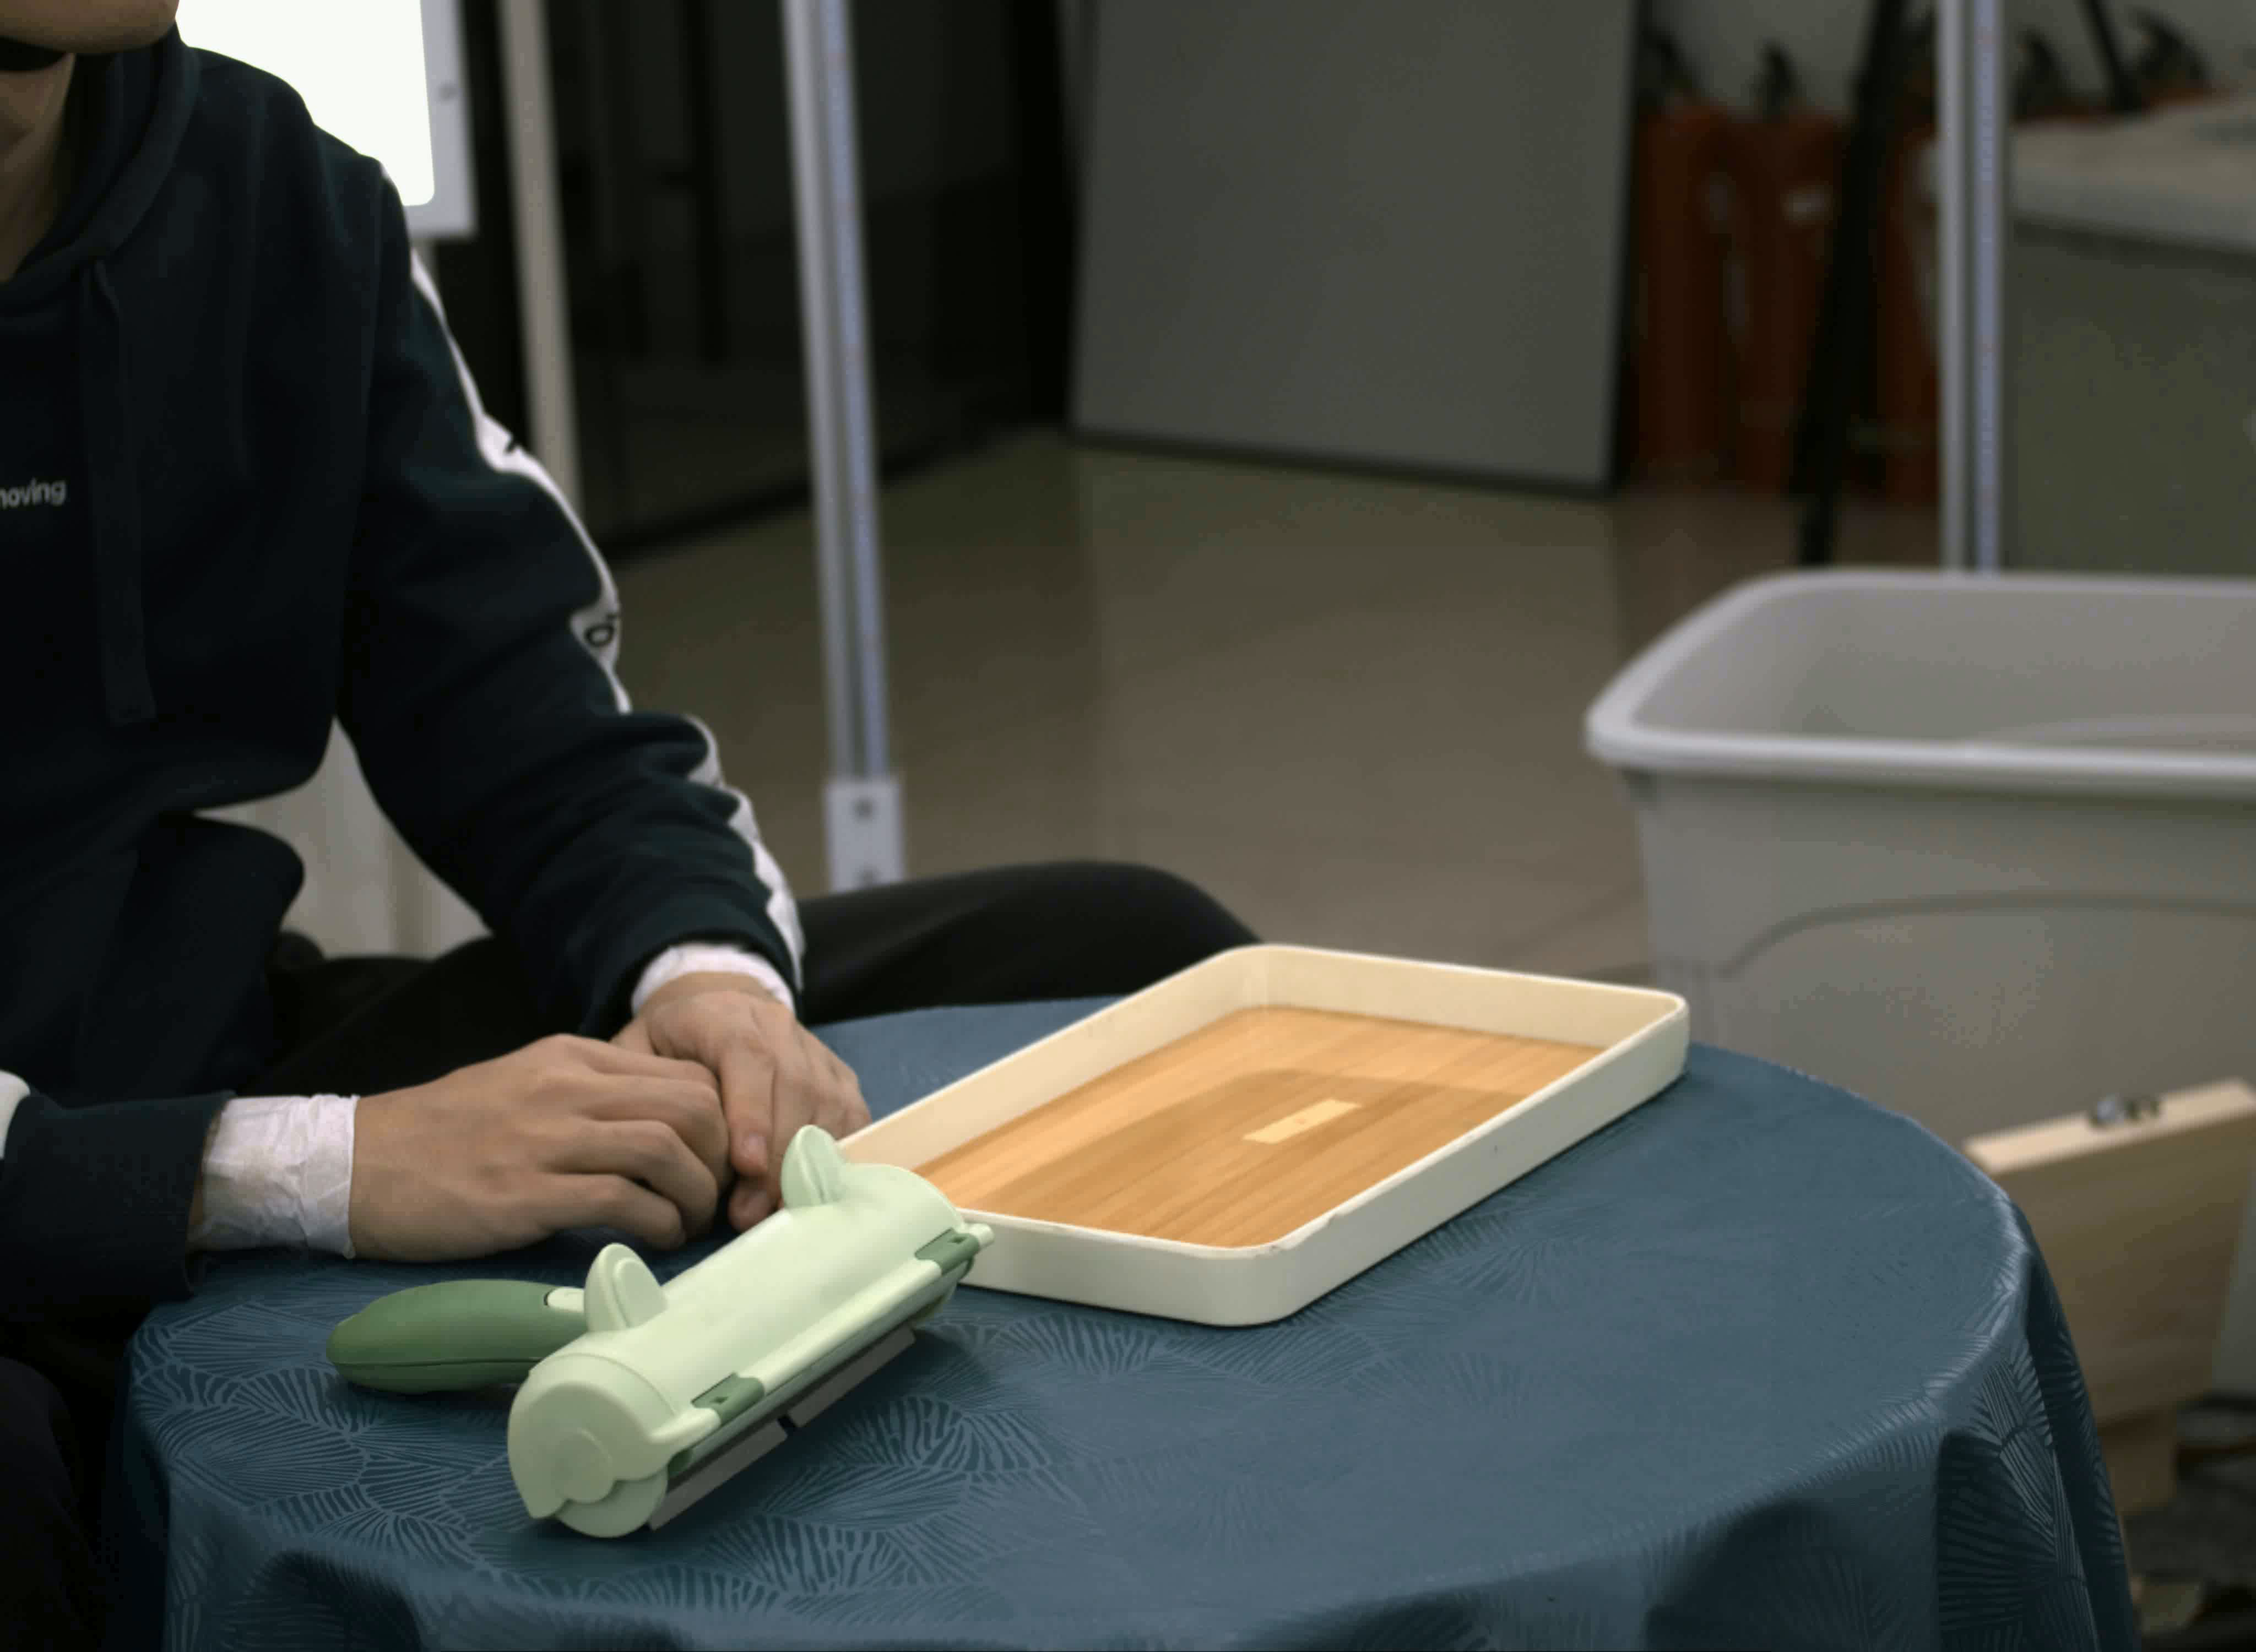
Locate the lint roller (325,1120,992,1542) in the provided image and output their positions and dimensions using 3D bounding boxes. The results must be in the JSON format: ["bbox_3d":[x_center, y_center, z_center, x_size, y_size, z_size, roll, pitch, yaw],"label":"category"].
[{"bbox_3d":[-0.160,0.137,1.594,0.183,0.083,0.196,8,17,25],"label":"lint roller"}]

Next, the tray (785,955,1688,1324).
[{"bbox_3d":[0.042,0.100,1.791,0.192,0.028,0.295,5,16,34],"label":"tray"}]
